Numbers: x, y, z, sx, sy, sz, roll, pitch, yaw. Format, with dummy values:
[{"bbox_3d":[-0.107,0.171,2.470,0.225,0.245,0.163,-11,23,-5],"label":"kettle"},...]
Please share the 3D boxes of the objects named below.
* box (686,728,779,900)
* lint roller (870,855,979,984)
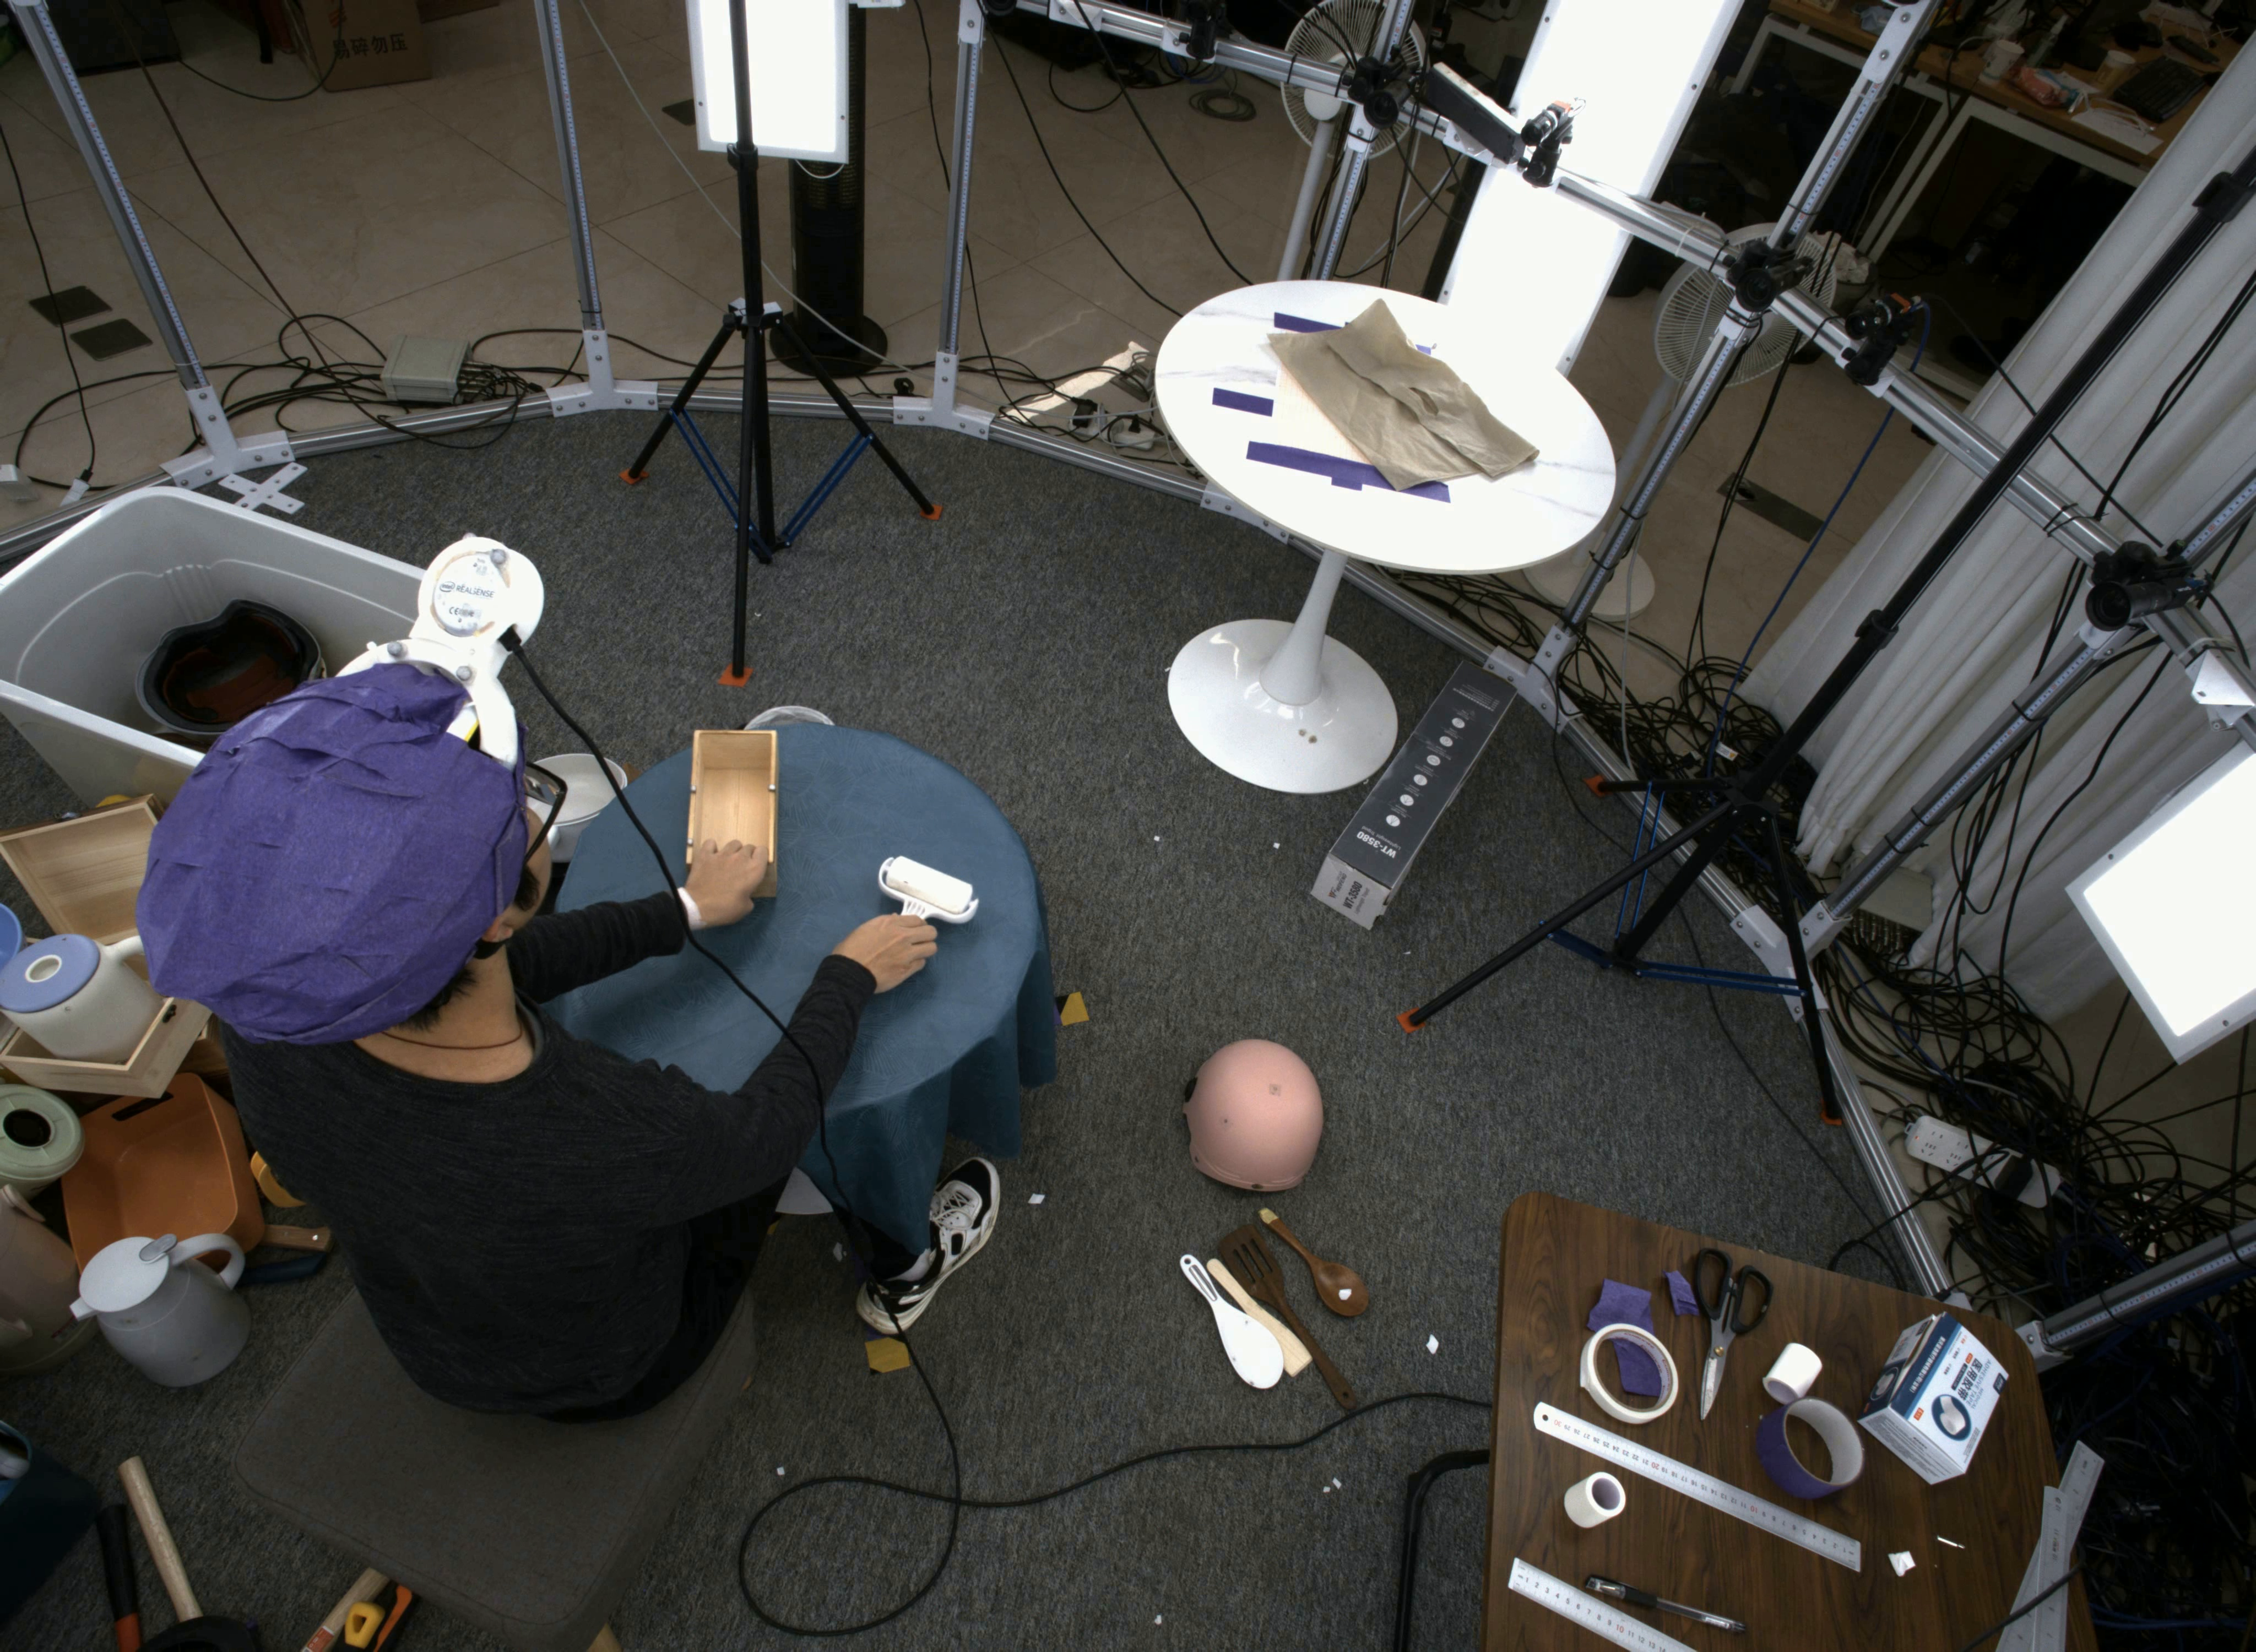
[{"bbox_3d":[-0.504,-0.019,1.656,0.108,0.082,0.207,-1,57,-14],"label":"box"},{"bbox_3d":[-0.274,0.115,1.610,0.131,0.051,0.179,24,44,4],"label":"lint roller"}]
